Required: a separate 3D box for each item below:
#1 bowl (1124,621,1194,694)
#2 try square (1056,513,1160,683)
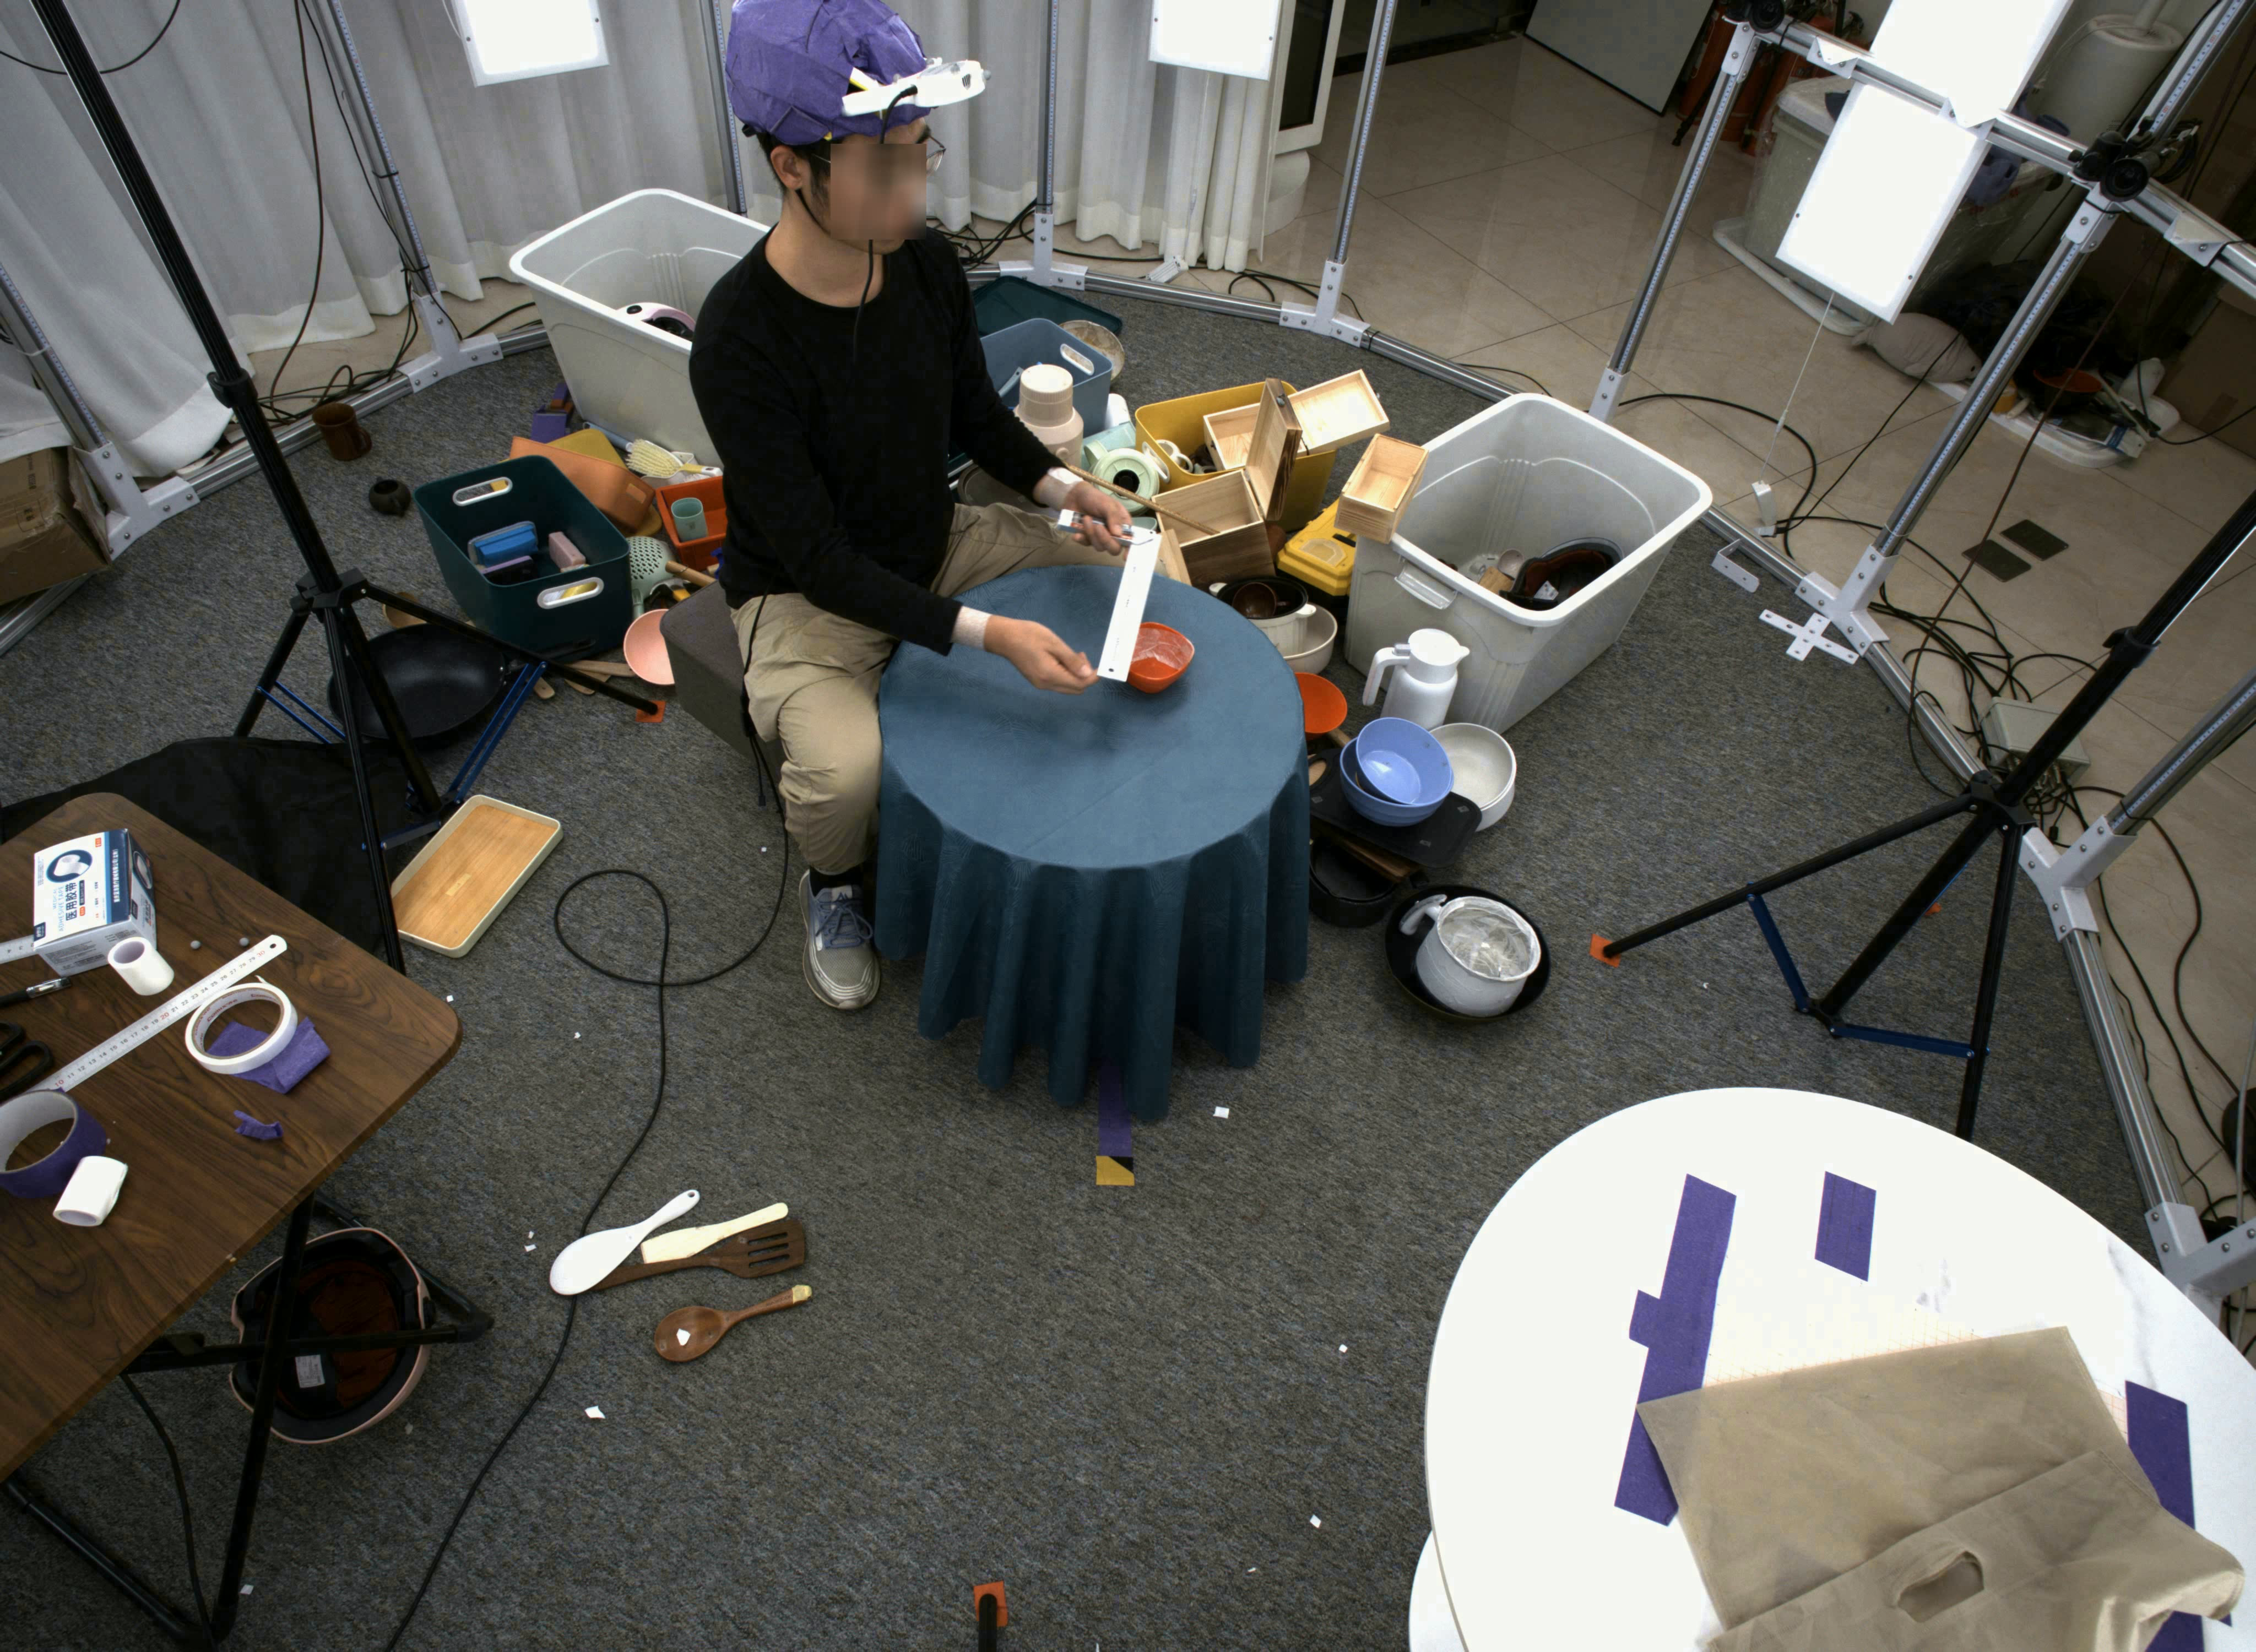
[{"bbox_3d":[0.034,-0.236,1.843,0.119,0.050,0.122,2,51,-2],"label":"bowl"},{"bbox_3d":[-0.051,-0.329,1.822,0.152,0.015,0.320,11,51,2],"label":"try square"}]
